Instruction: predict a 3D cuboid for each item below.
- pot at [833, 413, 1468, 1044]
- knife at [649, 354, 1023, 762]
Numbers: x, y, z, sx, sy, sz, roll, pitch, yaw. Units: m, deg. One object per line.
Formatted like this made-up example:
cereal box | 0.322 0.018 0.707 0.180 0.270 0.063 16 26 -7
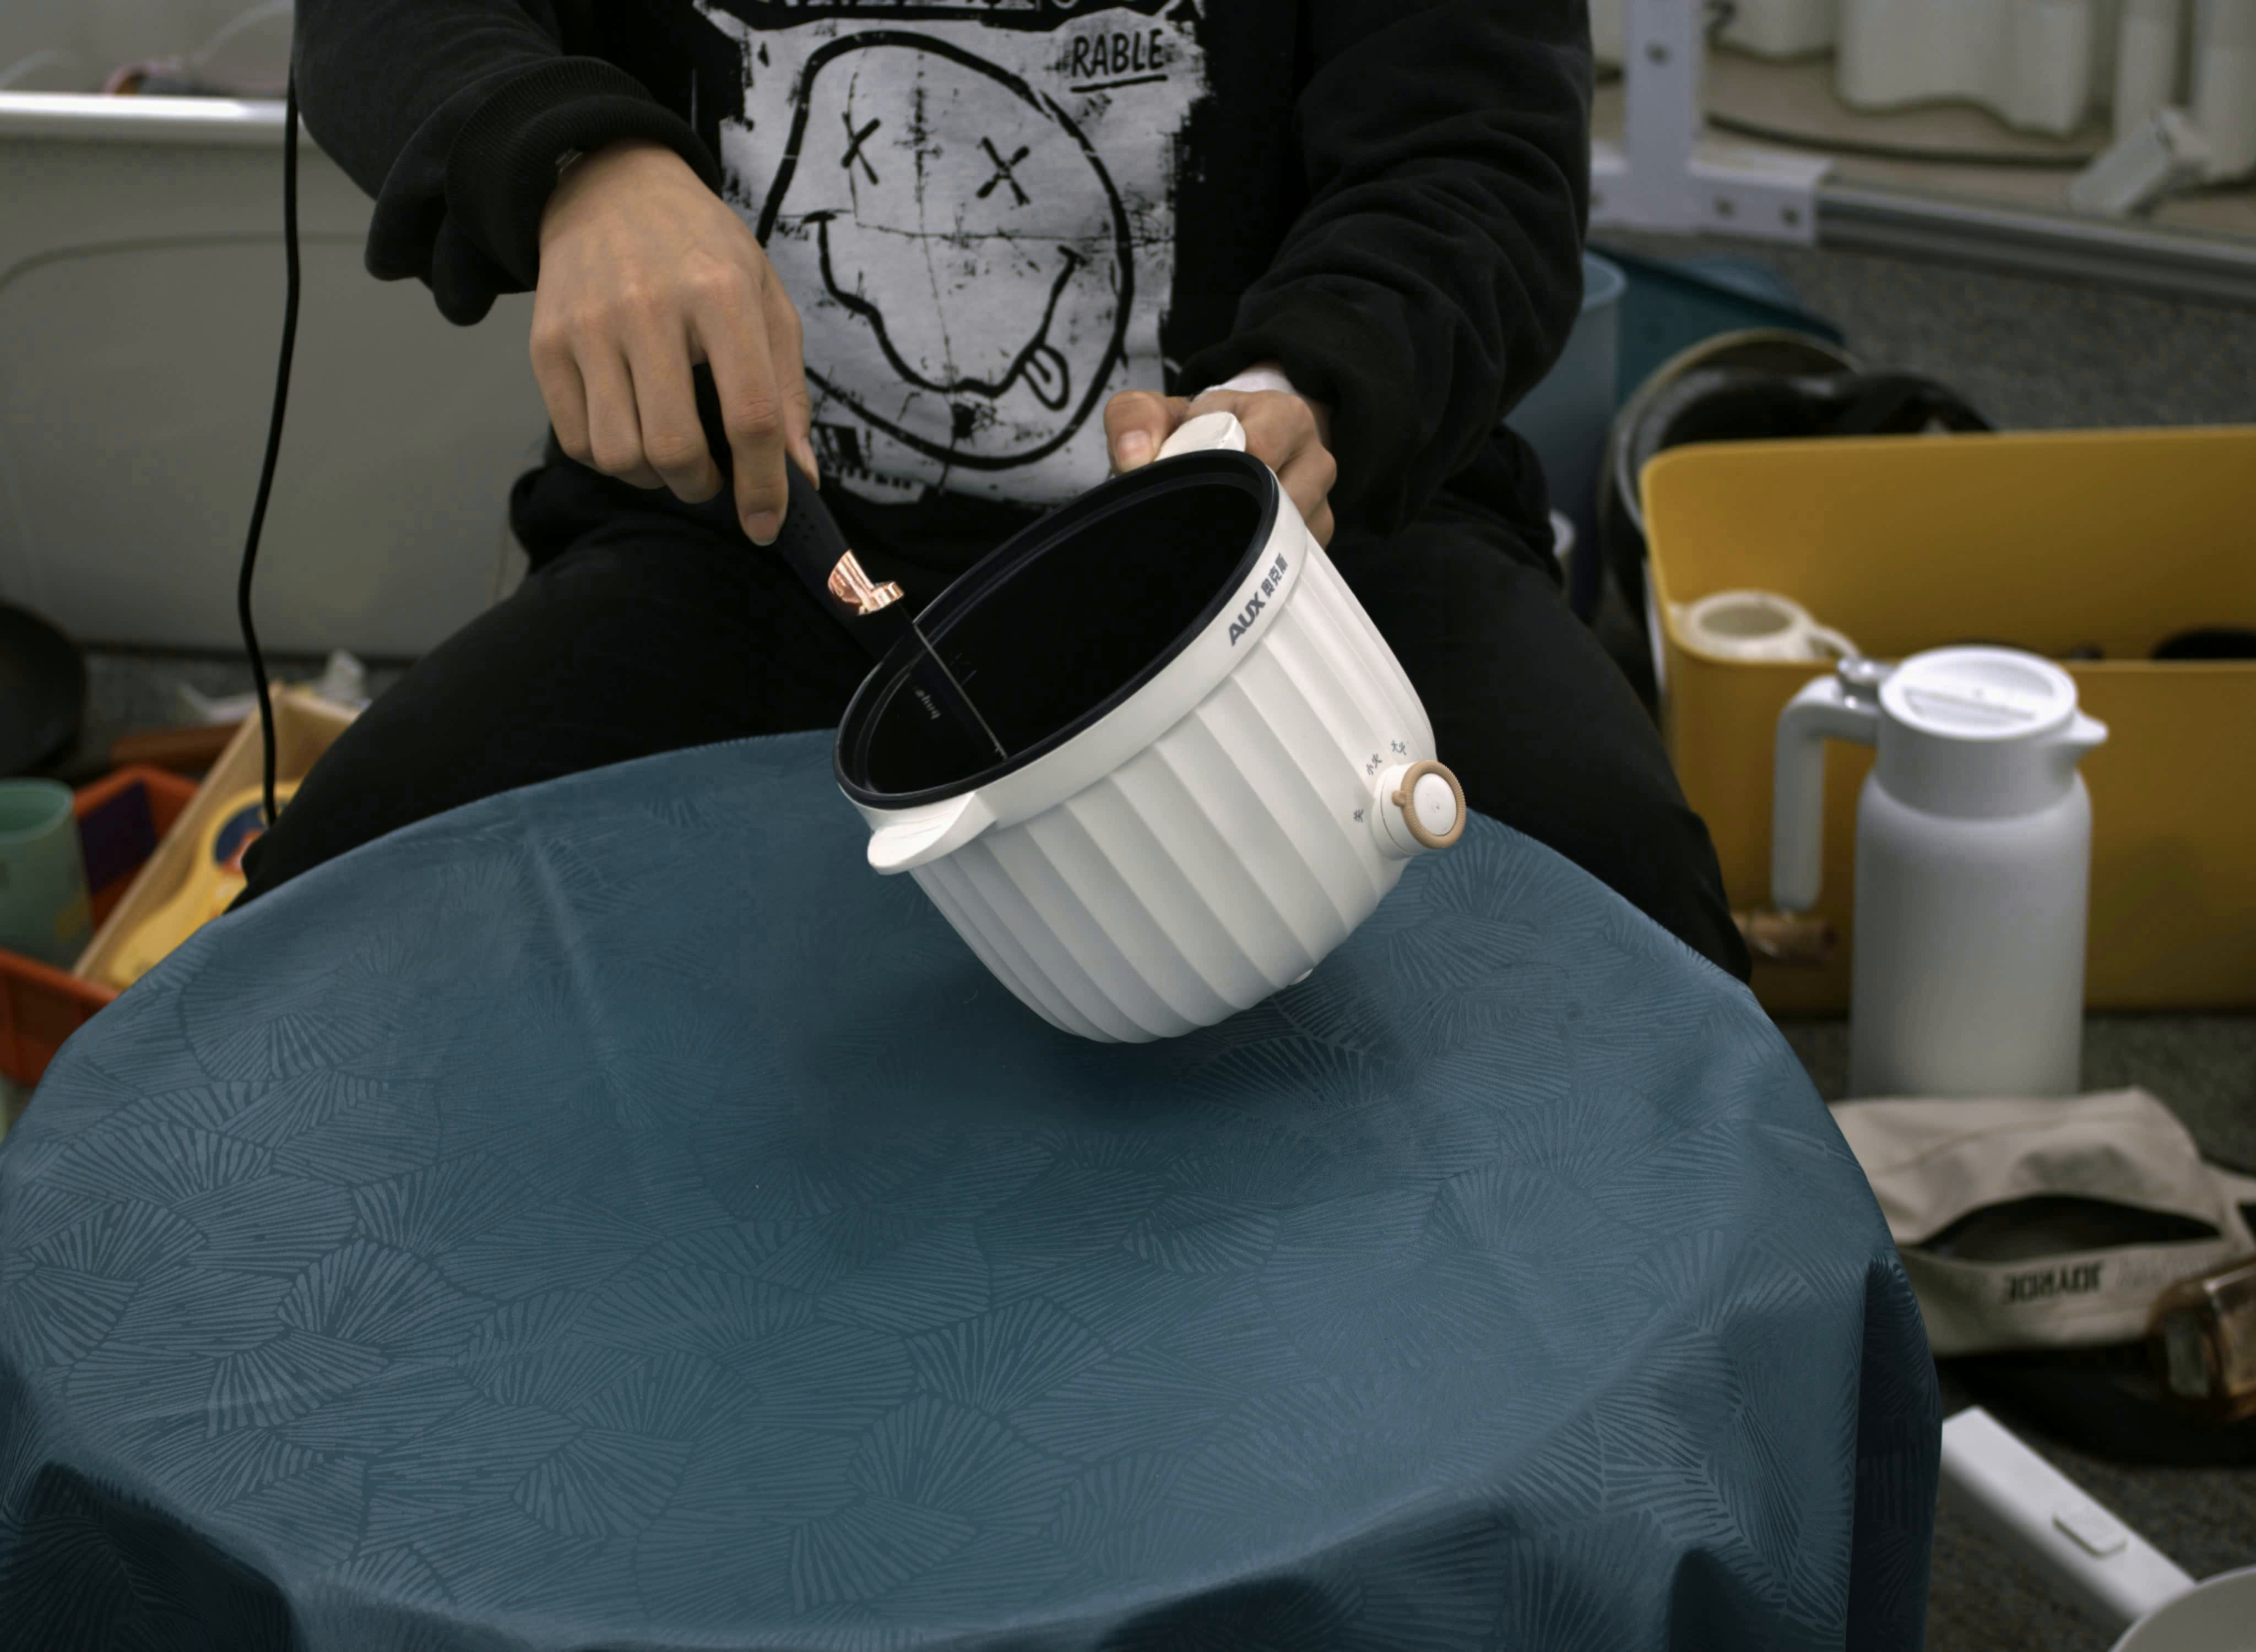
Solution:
pot | 0.015 -0.022 1.920 0.188 0.142 0.245 -19 29 44
knife | -0.083 -0.070 1.886 0.026 0.225 0.017 -39 2 3
